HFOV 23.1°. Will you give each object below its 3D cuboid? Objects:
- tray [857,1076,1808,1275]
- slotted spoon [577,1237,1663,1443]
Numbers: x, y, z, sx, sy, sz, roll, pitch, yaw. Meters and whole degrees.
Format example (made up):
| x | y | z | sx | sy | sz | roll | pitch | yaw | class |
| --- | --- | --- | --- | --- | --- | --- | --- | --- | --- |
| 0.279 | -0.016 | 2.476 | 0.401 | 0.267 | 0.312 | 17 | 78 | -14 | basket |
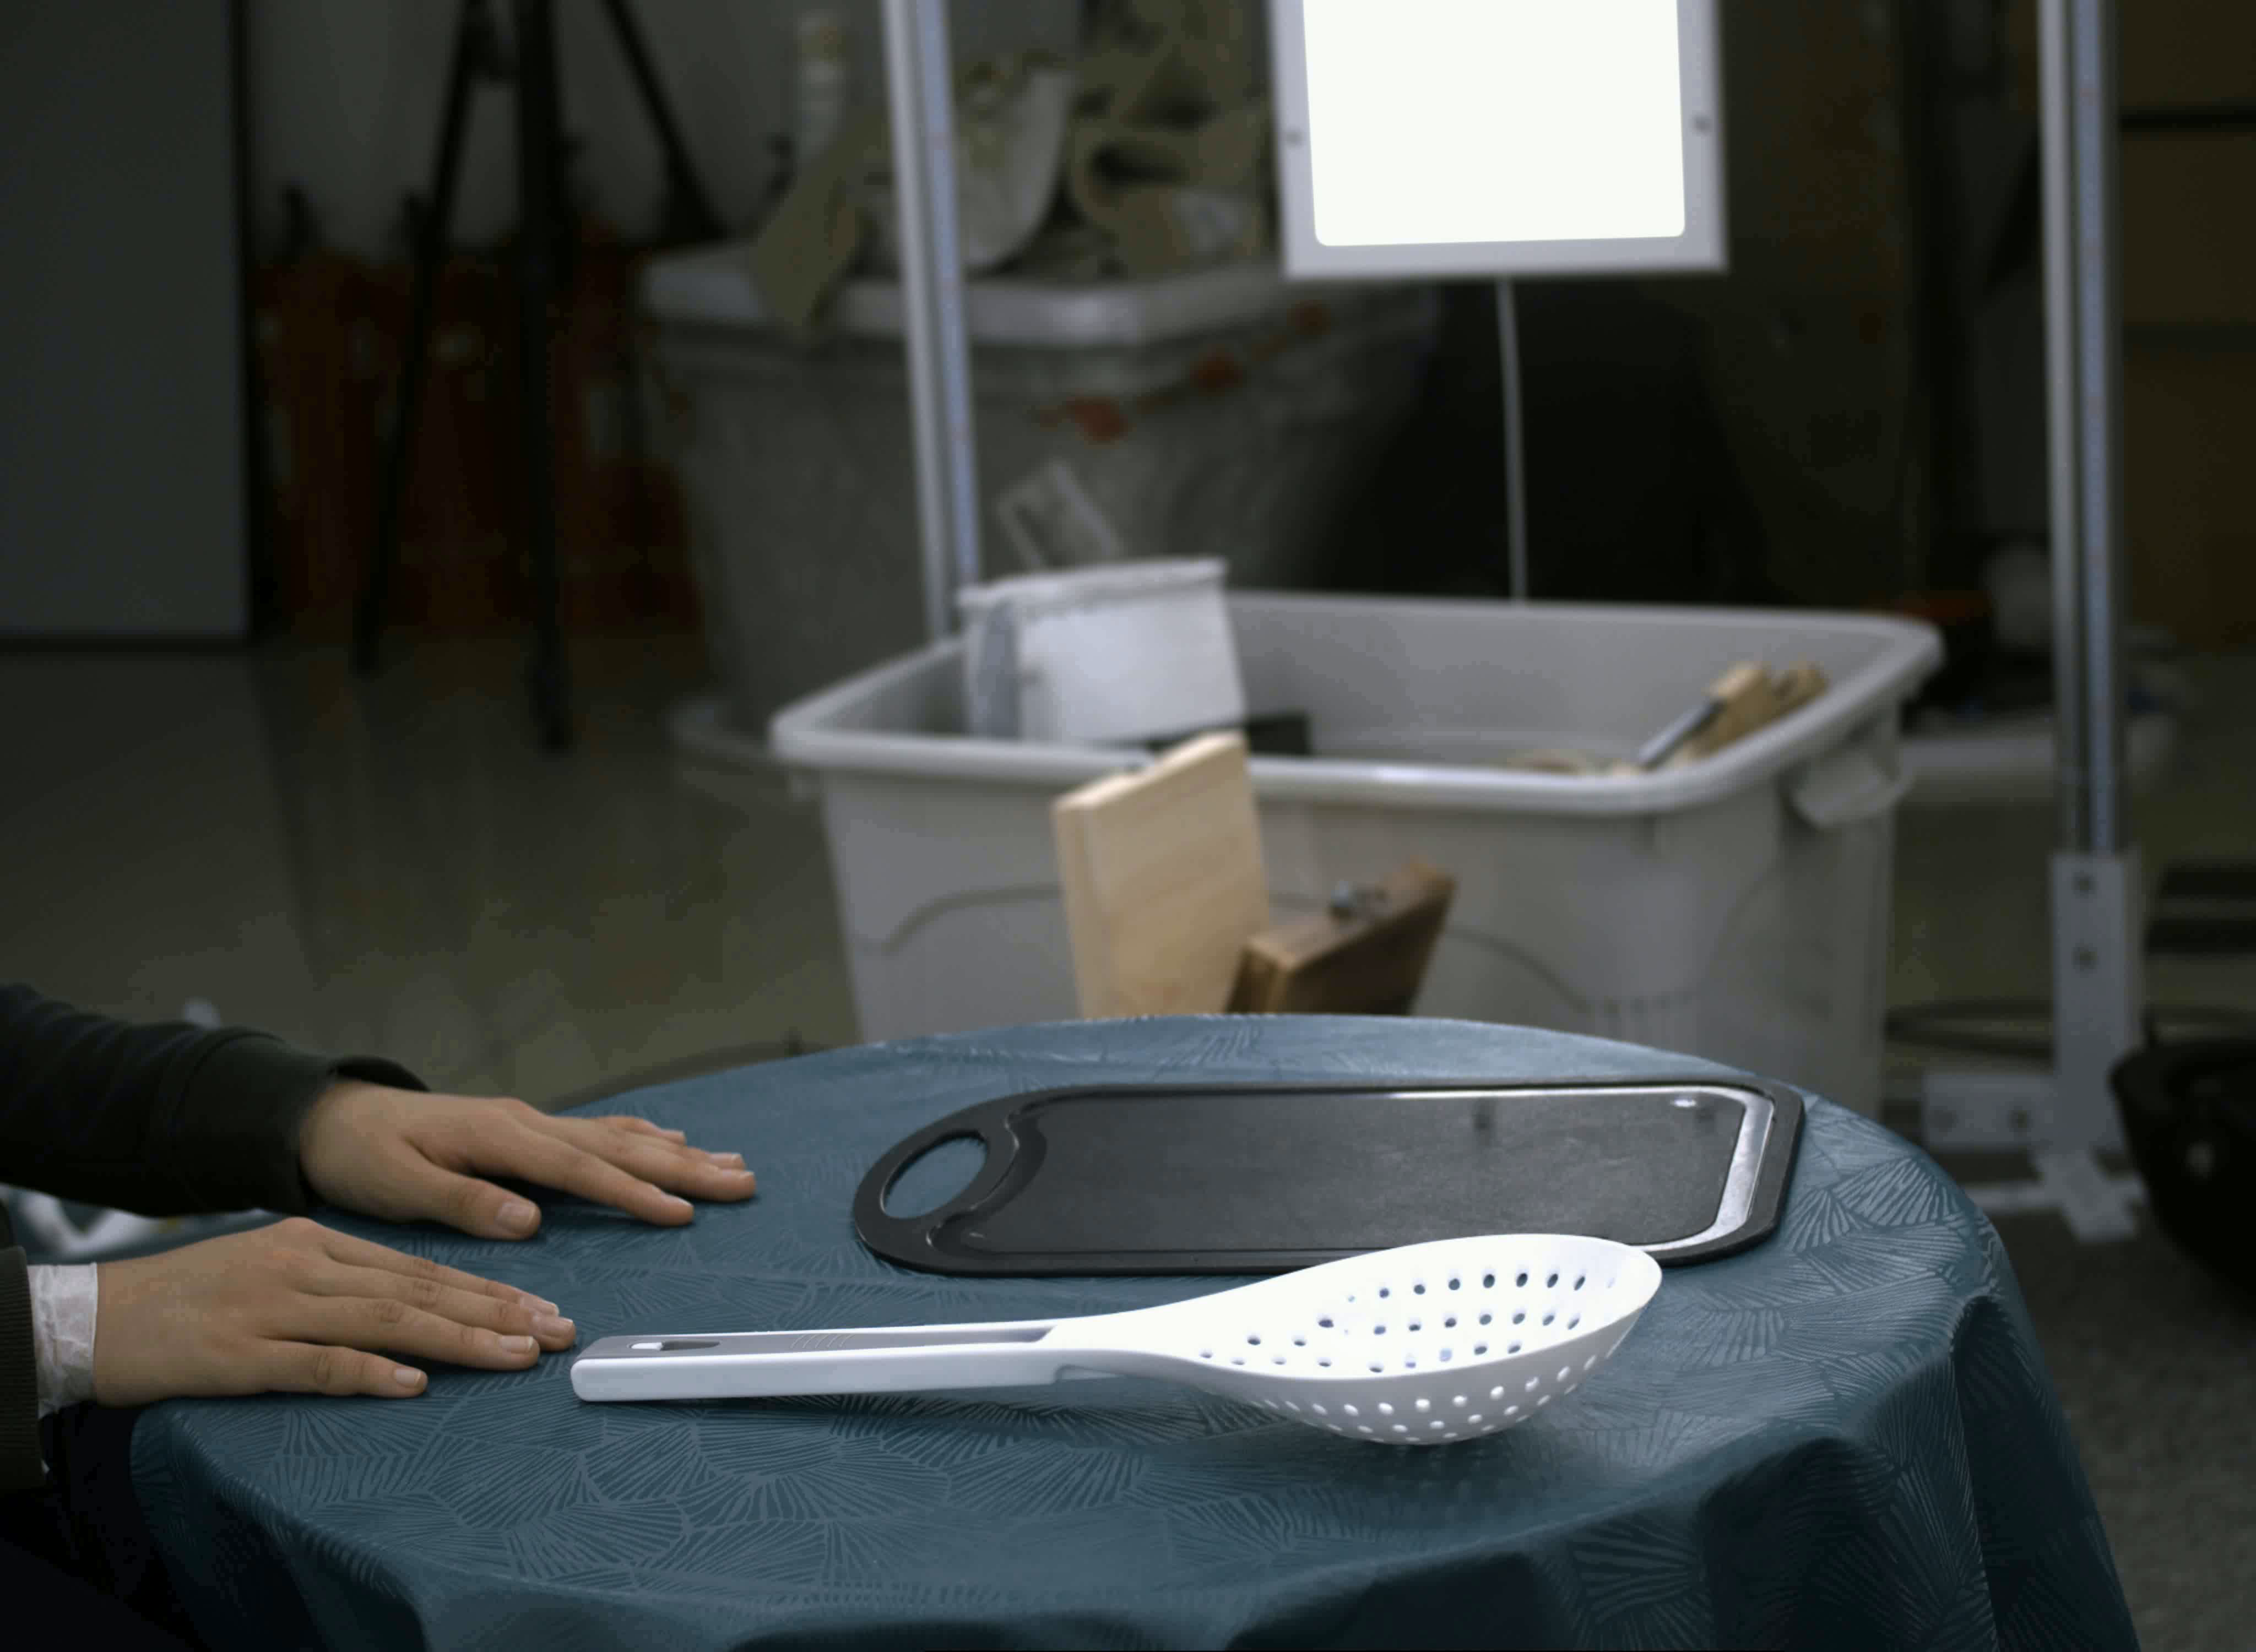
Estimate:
| x | y | z | sx | sy | sz | roll | pitch | yaw | class |
| --- | --- | --- | --- | --- | --- | --- | --- | --- | --- |
| 0.068 | 0.118 | 1.895 | 0.328 | 0.010 | 0.208 | -2 | 14 | 14 | tray |
| -0.007 | 0.158 | 1.676 | 0.354 | 0.046 | 0.133 | 0 | 12 | 22 | slotted spoon |
